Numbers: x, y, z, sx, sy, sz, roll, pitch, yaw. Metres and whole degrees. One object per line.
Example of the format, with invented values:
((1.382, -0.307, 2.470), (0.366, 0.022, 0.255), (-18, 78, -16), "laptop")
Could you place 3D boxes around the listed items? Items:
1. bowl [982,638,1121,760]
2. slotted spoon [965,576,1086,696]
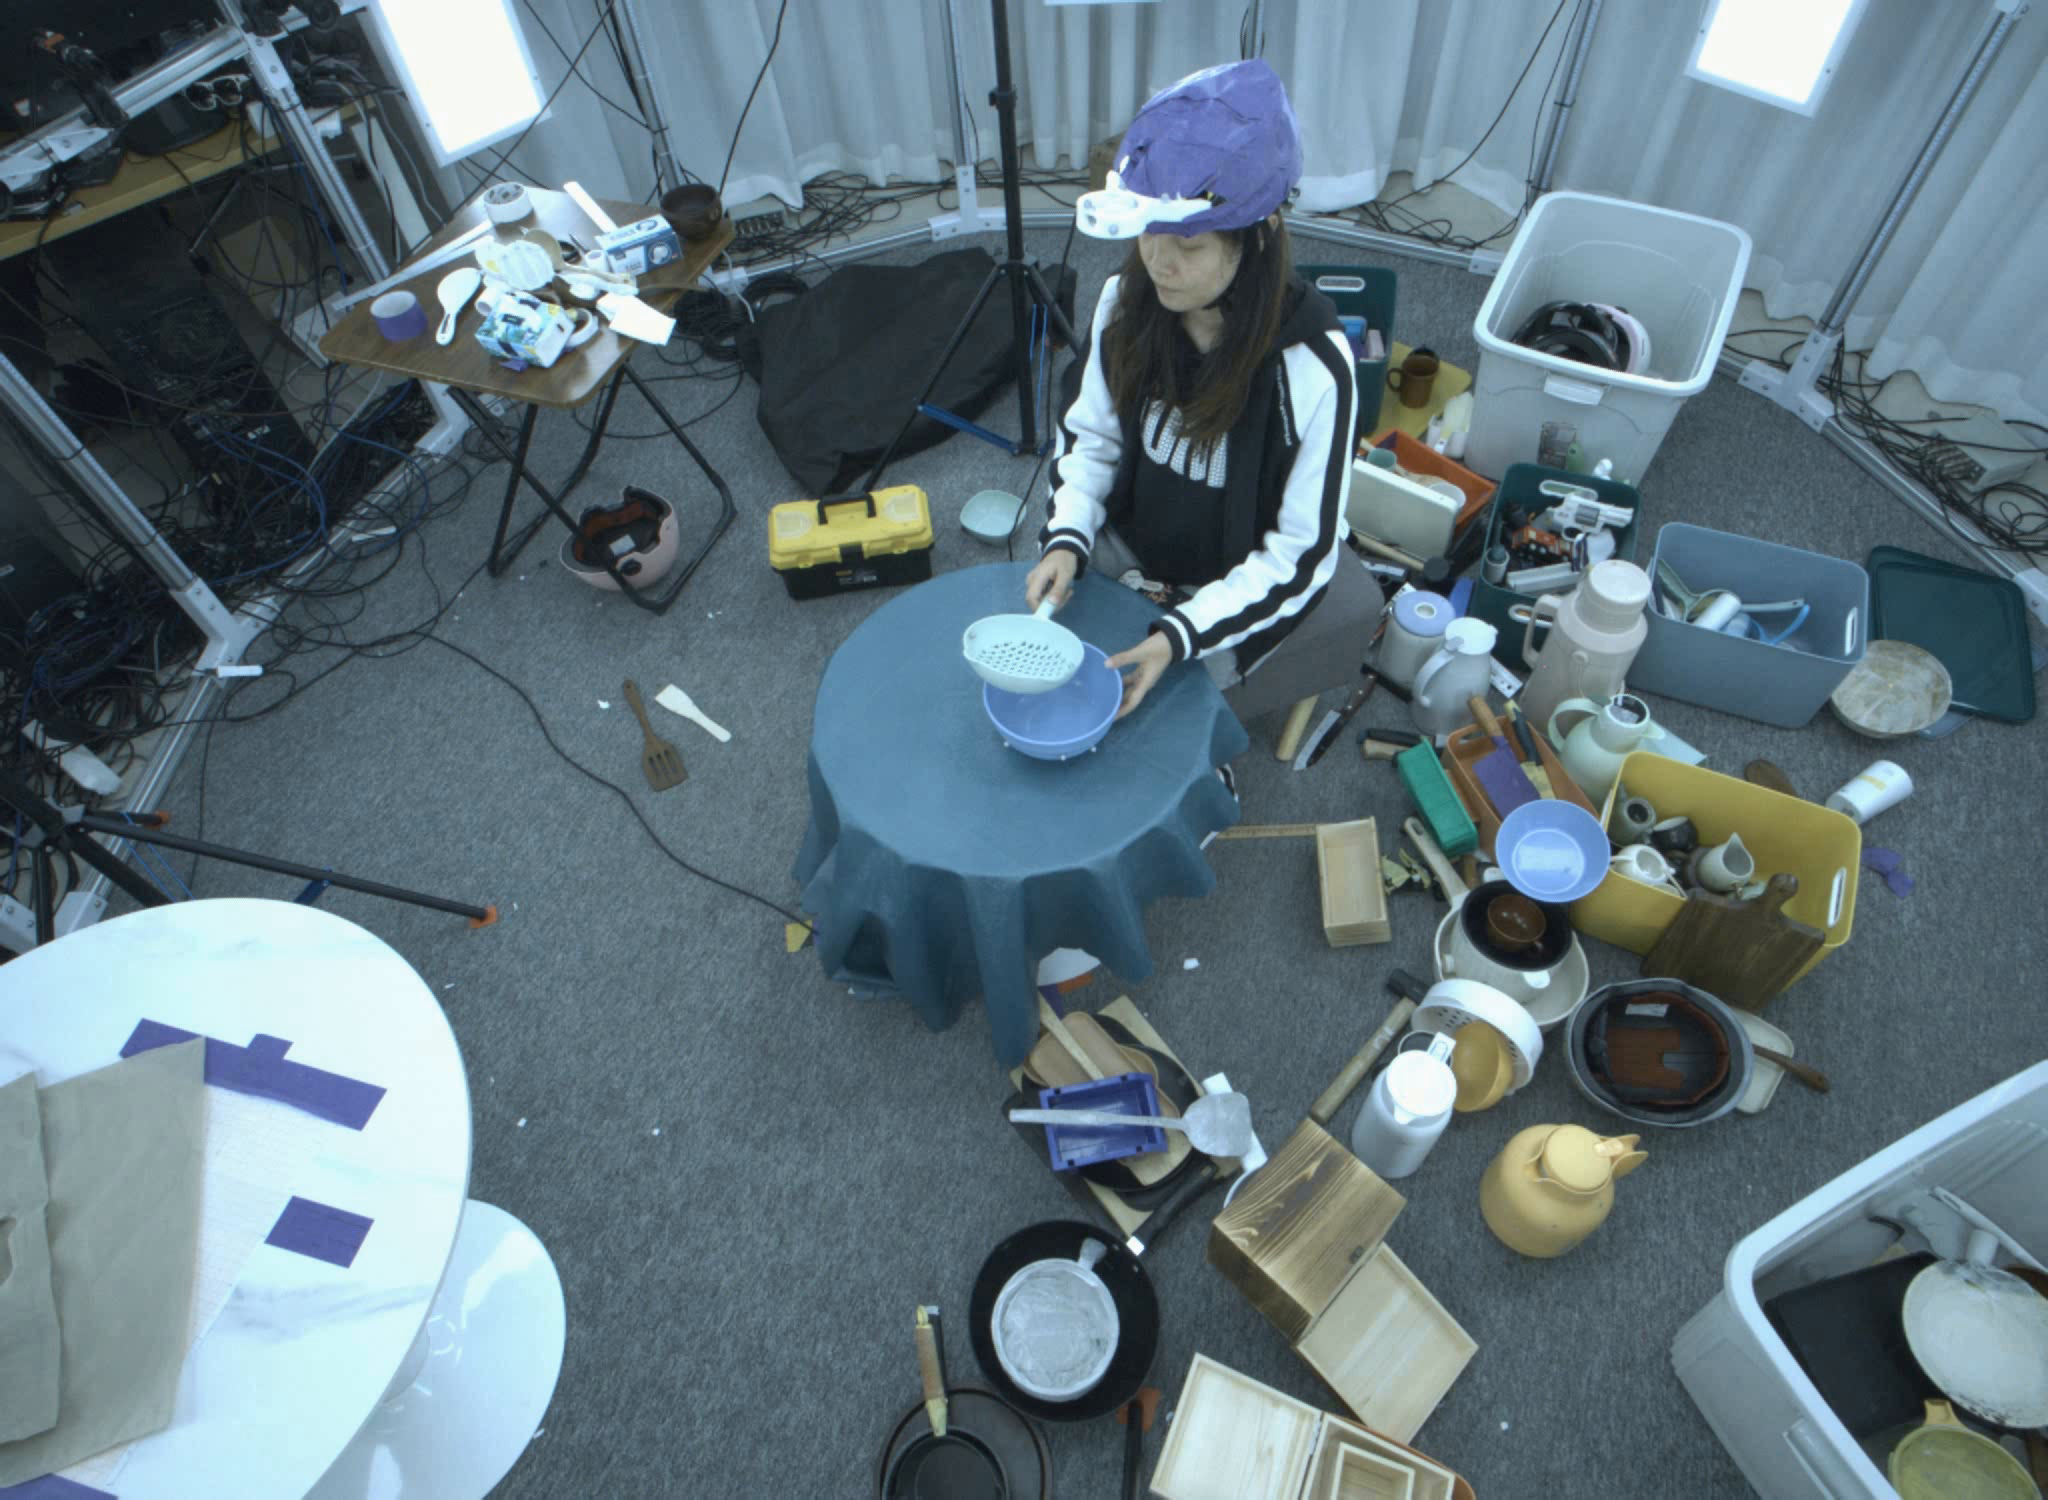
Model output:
((0.042, -0.059, 1.770), (0.196, 0.096, 0.194), (-1, 54, 2), "bowl")
((0.024, -0.183, 1.790), (0.169, 0.076, 0.358), (18, 43, 5), "slotted spoon")
